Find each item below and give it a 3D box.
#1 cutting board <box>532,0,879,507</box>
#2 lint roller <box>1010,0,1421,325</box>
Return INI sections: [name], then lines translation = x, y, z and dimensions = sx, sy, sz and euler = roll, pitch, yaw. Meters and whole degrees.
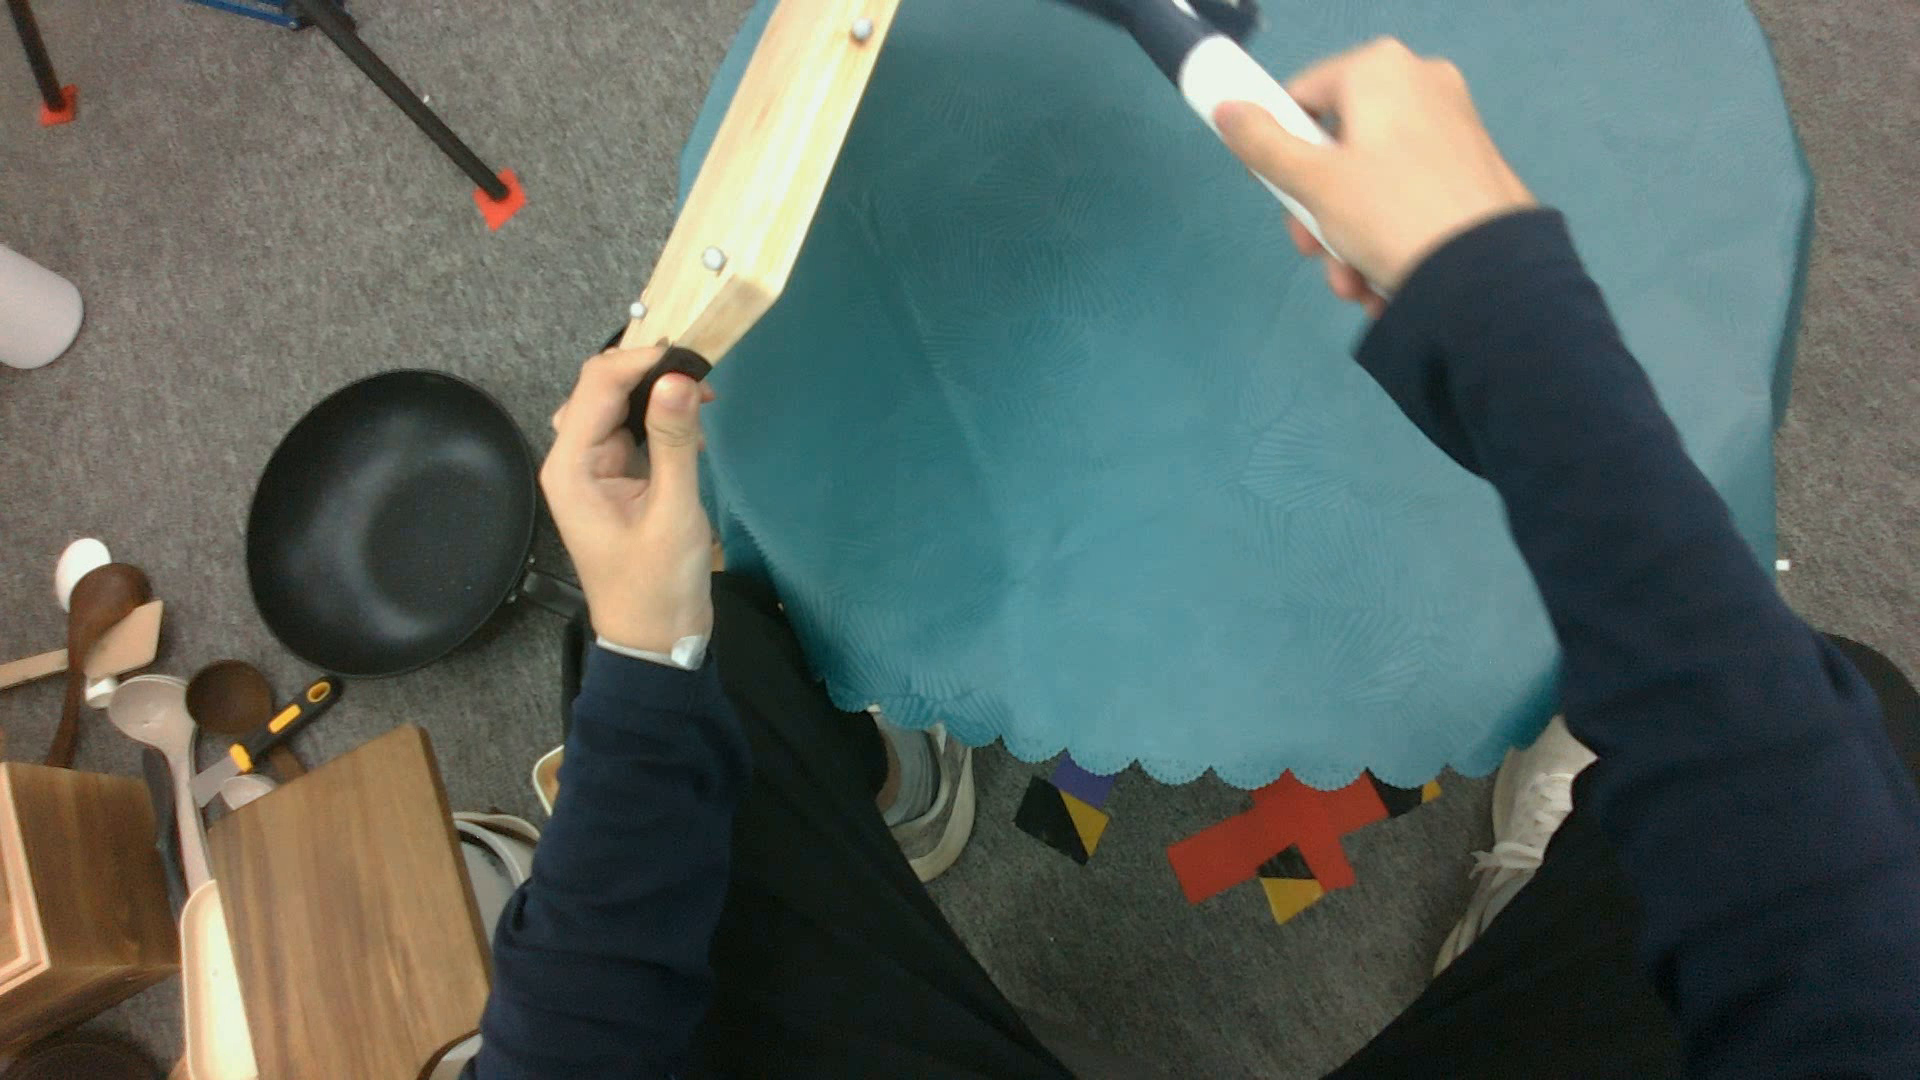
[cutting board]
translation = -0.095, -0.200, 0.648
dimensions = 0.023, 0.249, 0.350
euler = 28, 60, -22
[lint roller]
translation = 0.106, -0.180, 0.554
dimensions = 0.247, 0.177, 0.050
euler = 55, 128, 29
